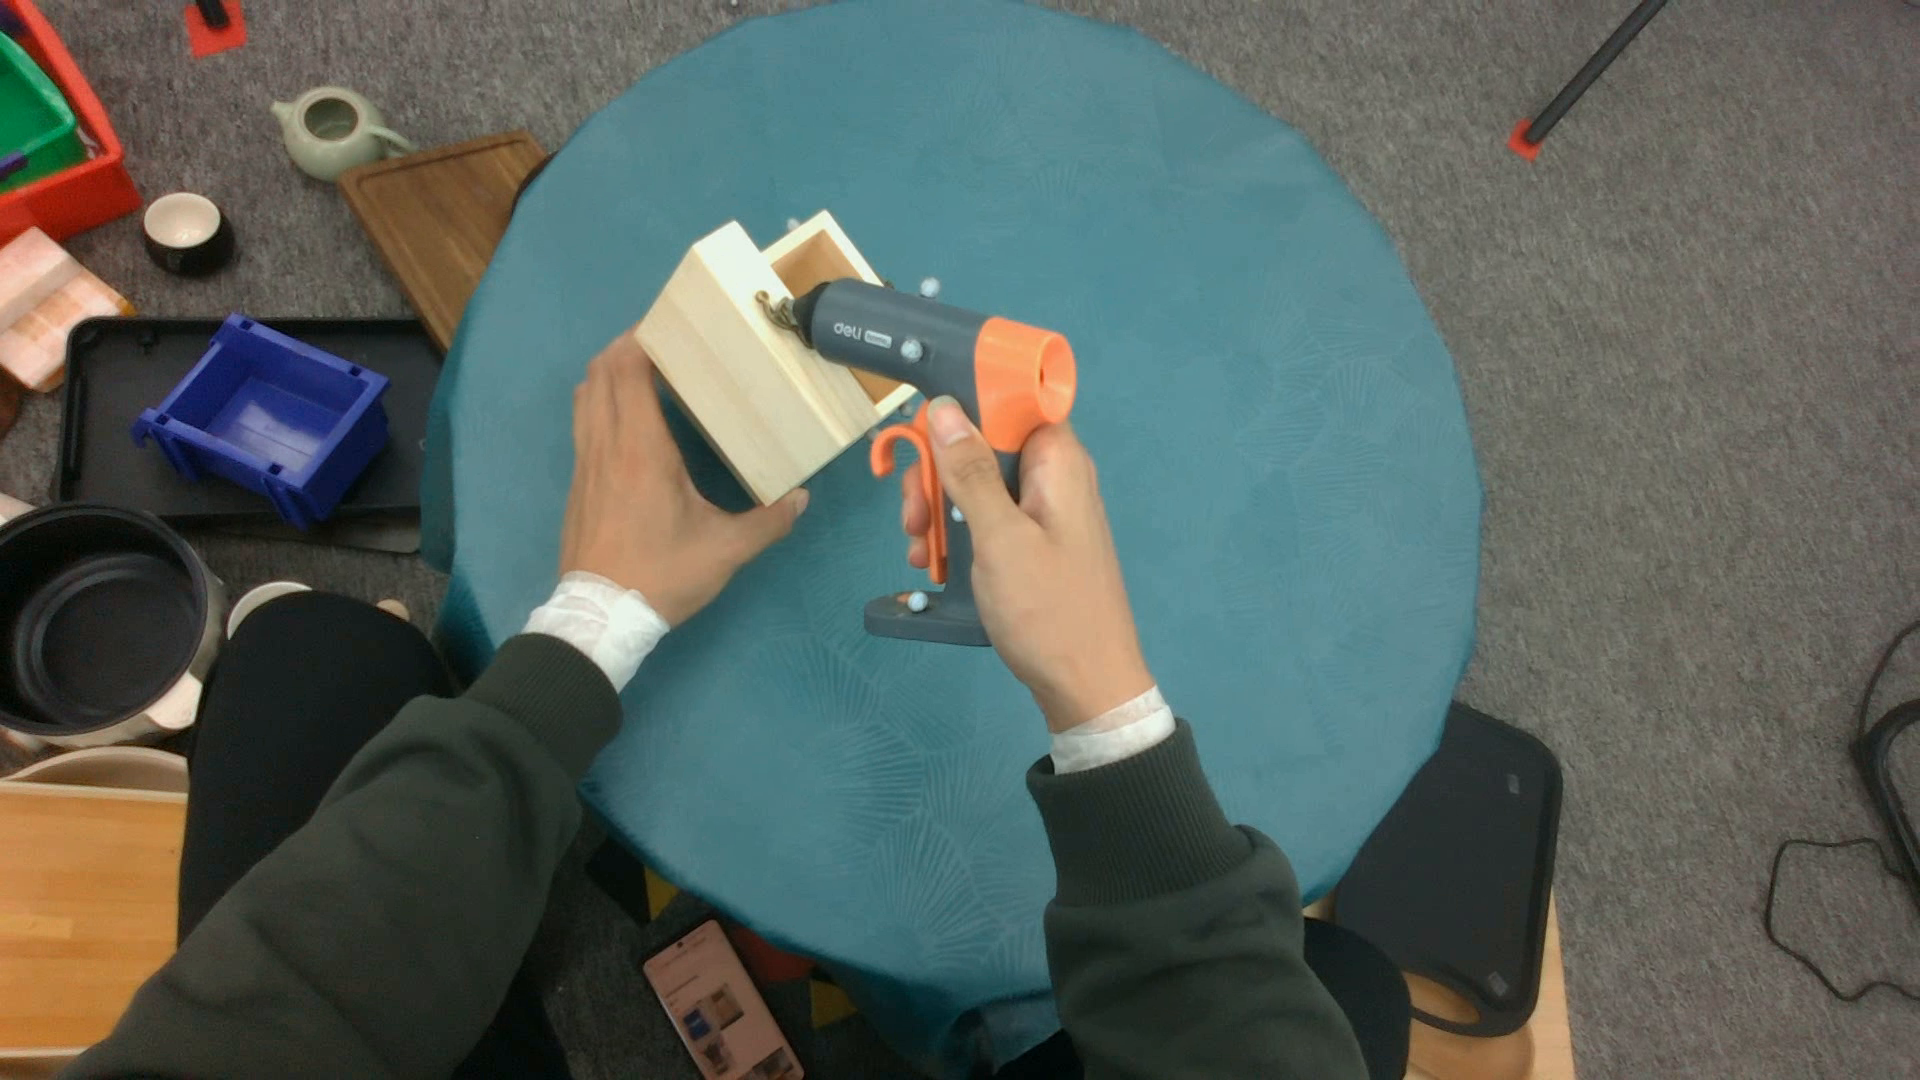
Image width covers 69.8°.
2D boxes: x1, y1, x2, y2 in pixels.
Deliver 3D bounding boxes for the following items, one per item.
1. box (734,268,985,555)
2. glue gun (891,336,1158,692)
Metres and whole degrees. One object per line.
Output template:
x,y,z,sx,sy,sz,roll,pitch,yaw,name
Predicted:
-0.030,-0.074,0.687,0.134,0.184,0.102,-38,92,-24,box
0.023,-0.014,0.556,0.041,0.117,0.139,-14,103,-51,glue gun
